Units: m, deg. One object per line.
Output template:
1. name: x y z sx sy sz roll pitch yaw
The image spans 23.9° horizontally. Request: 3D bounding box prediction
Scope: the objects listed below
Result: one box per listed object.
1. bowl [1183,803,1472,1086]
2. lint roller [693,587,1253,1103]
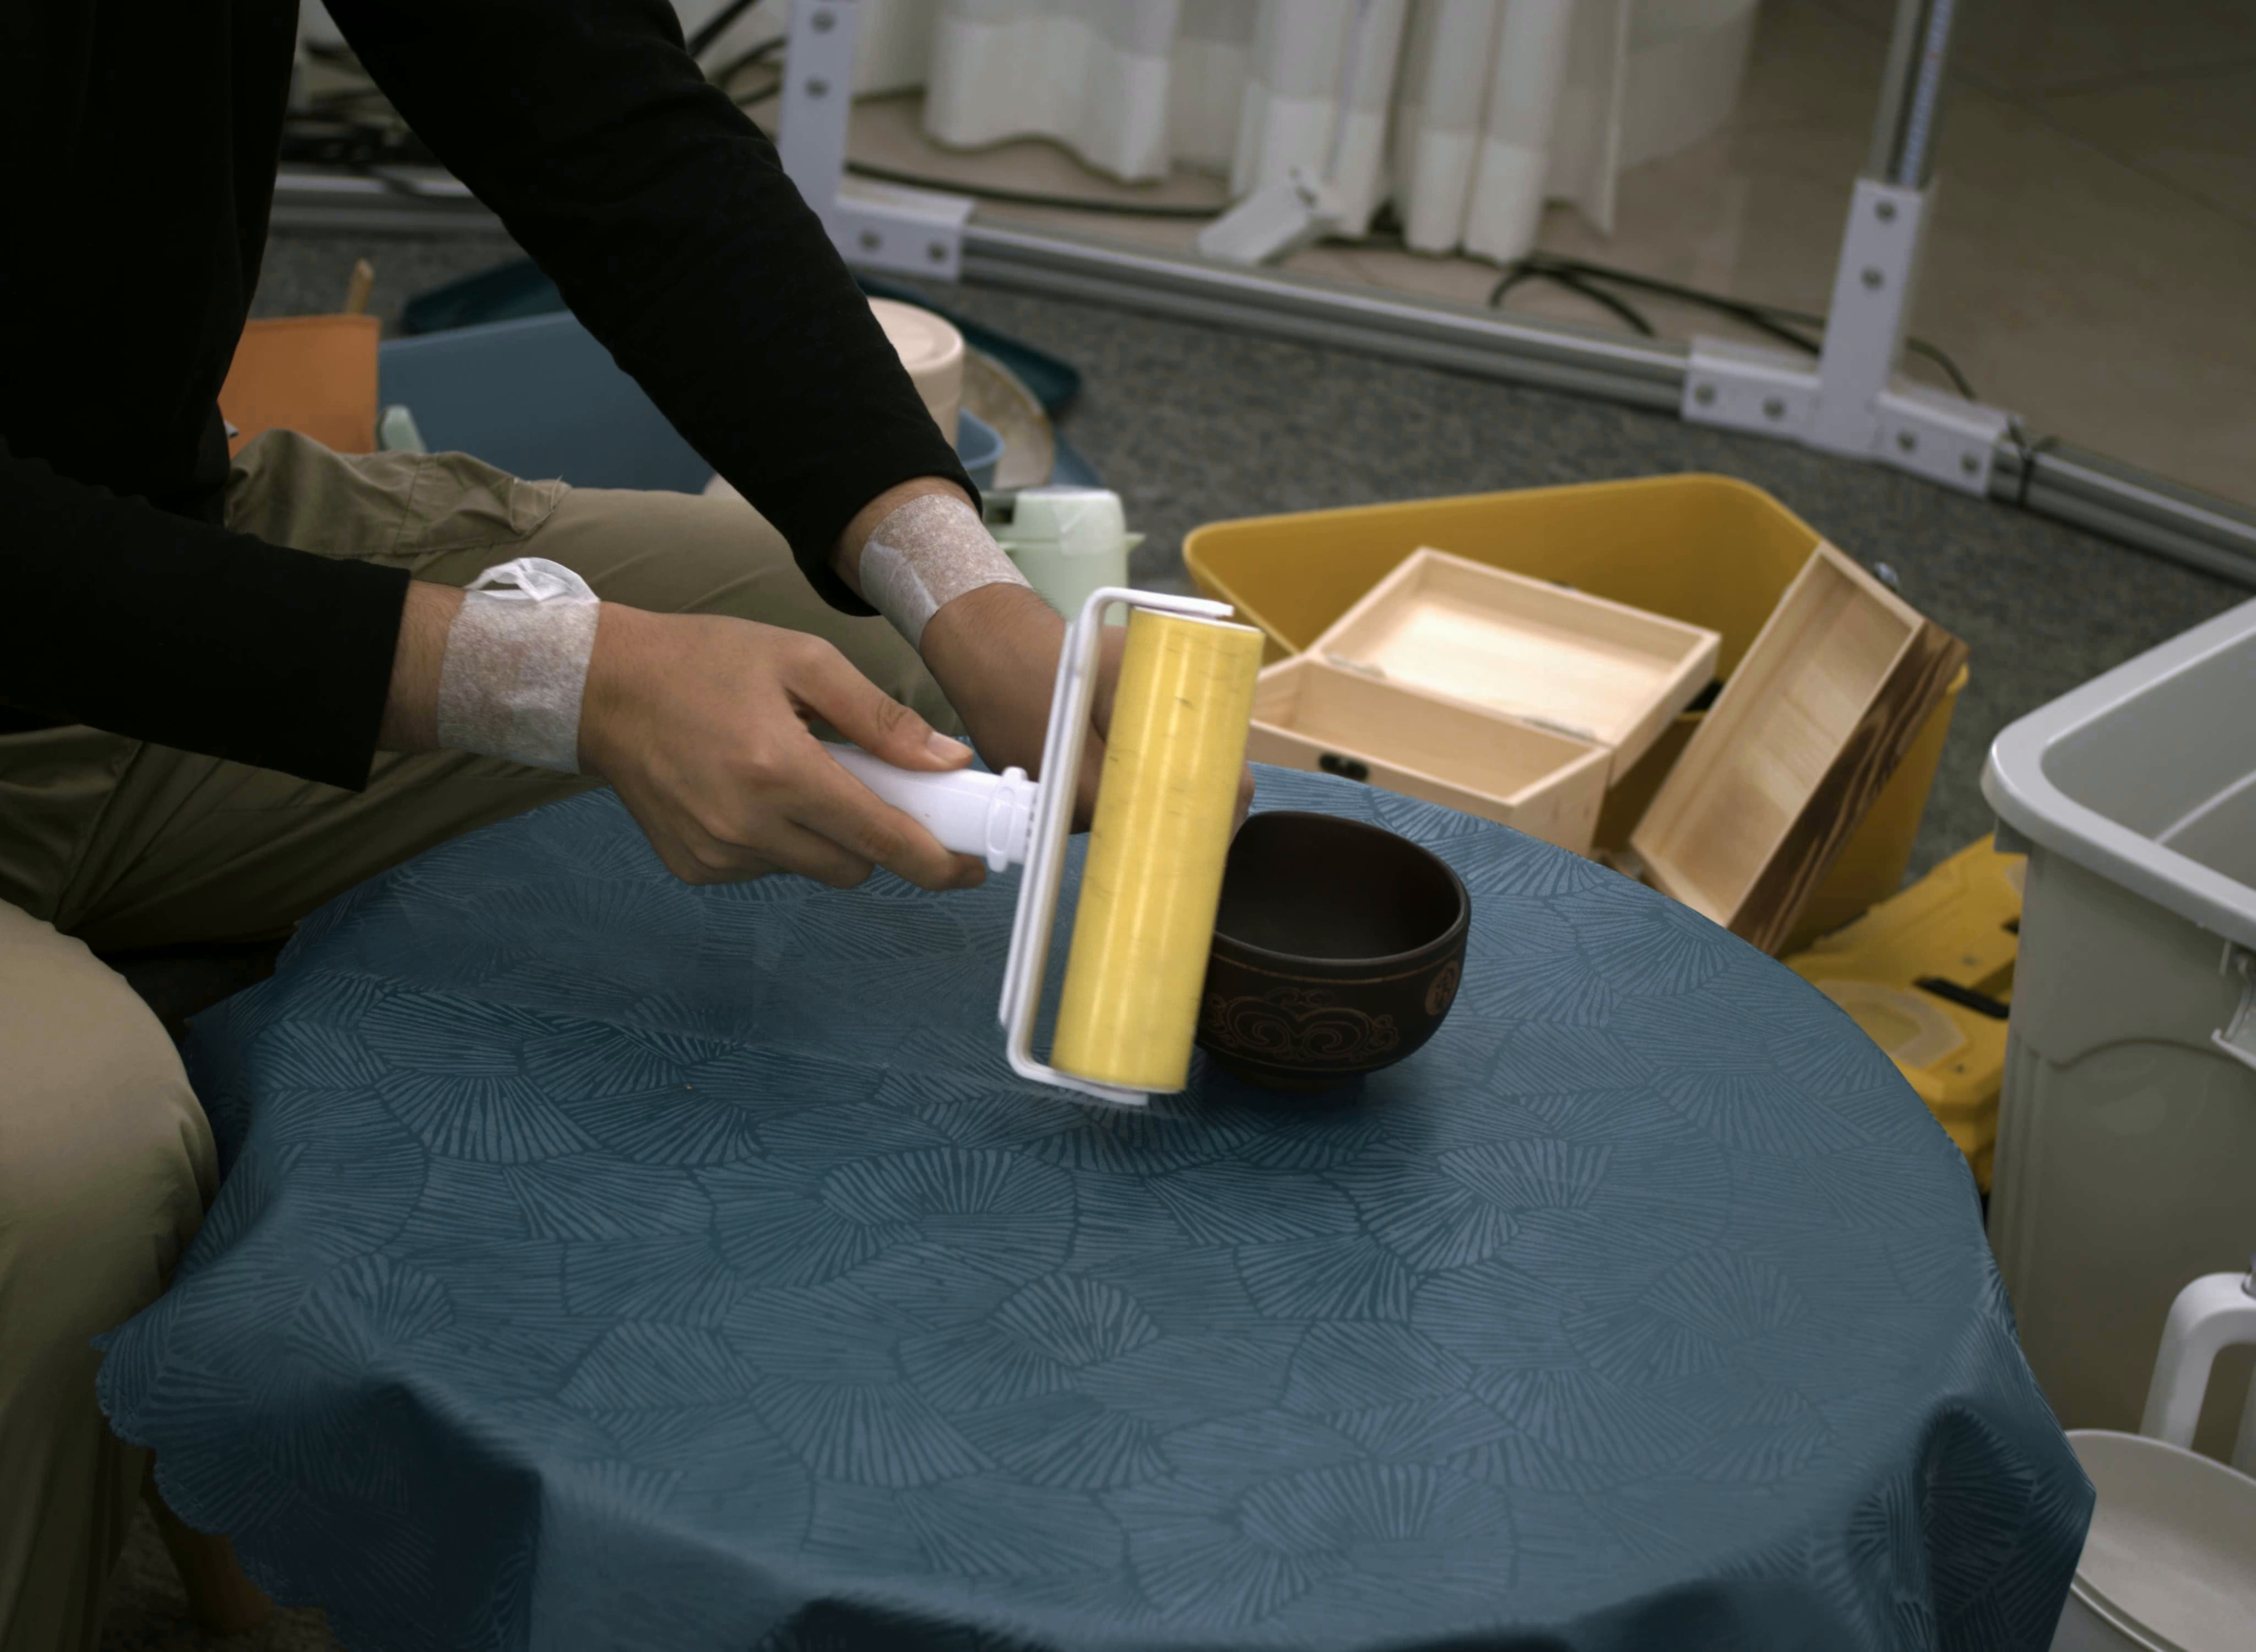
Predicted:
1. bowl: 0.060 0.048 1.881 0.117 0.069 0.119 6 26 -3
2. lint roller: -0.062 -0.003 1.835 0.192 0.174 0.051 8 2 9
